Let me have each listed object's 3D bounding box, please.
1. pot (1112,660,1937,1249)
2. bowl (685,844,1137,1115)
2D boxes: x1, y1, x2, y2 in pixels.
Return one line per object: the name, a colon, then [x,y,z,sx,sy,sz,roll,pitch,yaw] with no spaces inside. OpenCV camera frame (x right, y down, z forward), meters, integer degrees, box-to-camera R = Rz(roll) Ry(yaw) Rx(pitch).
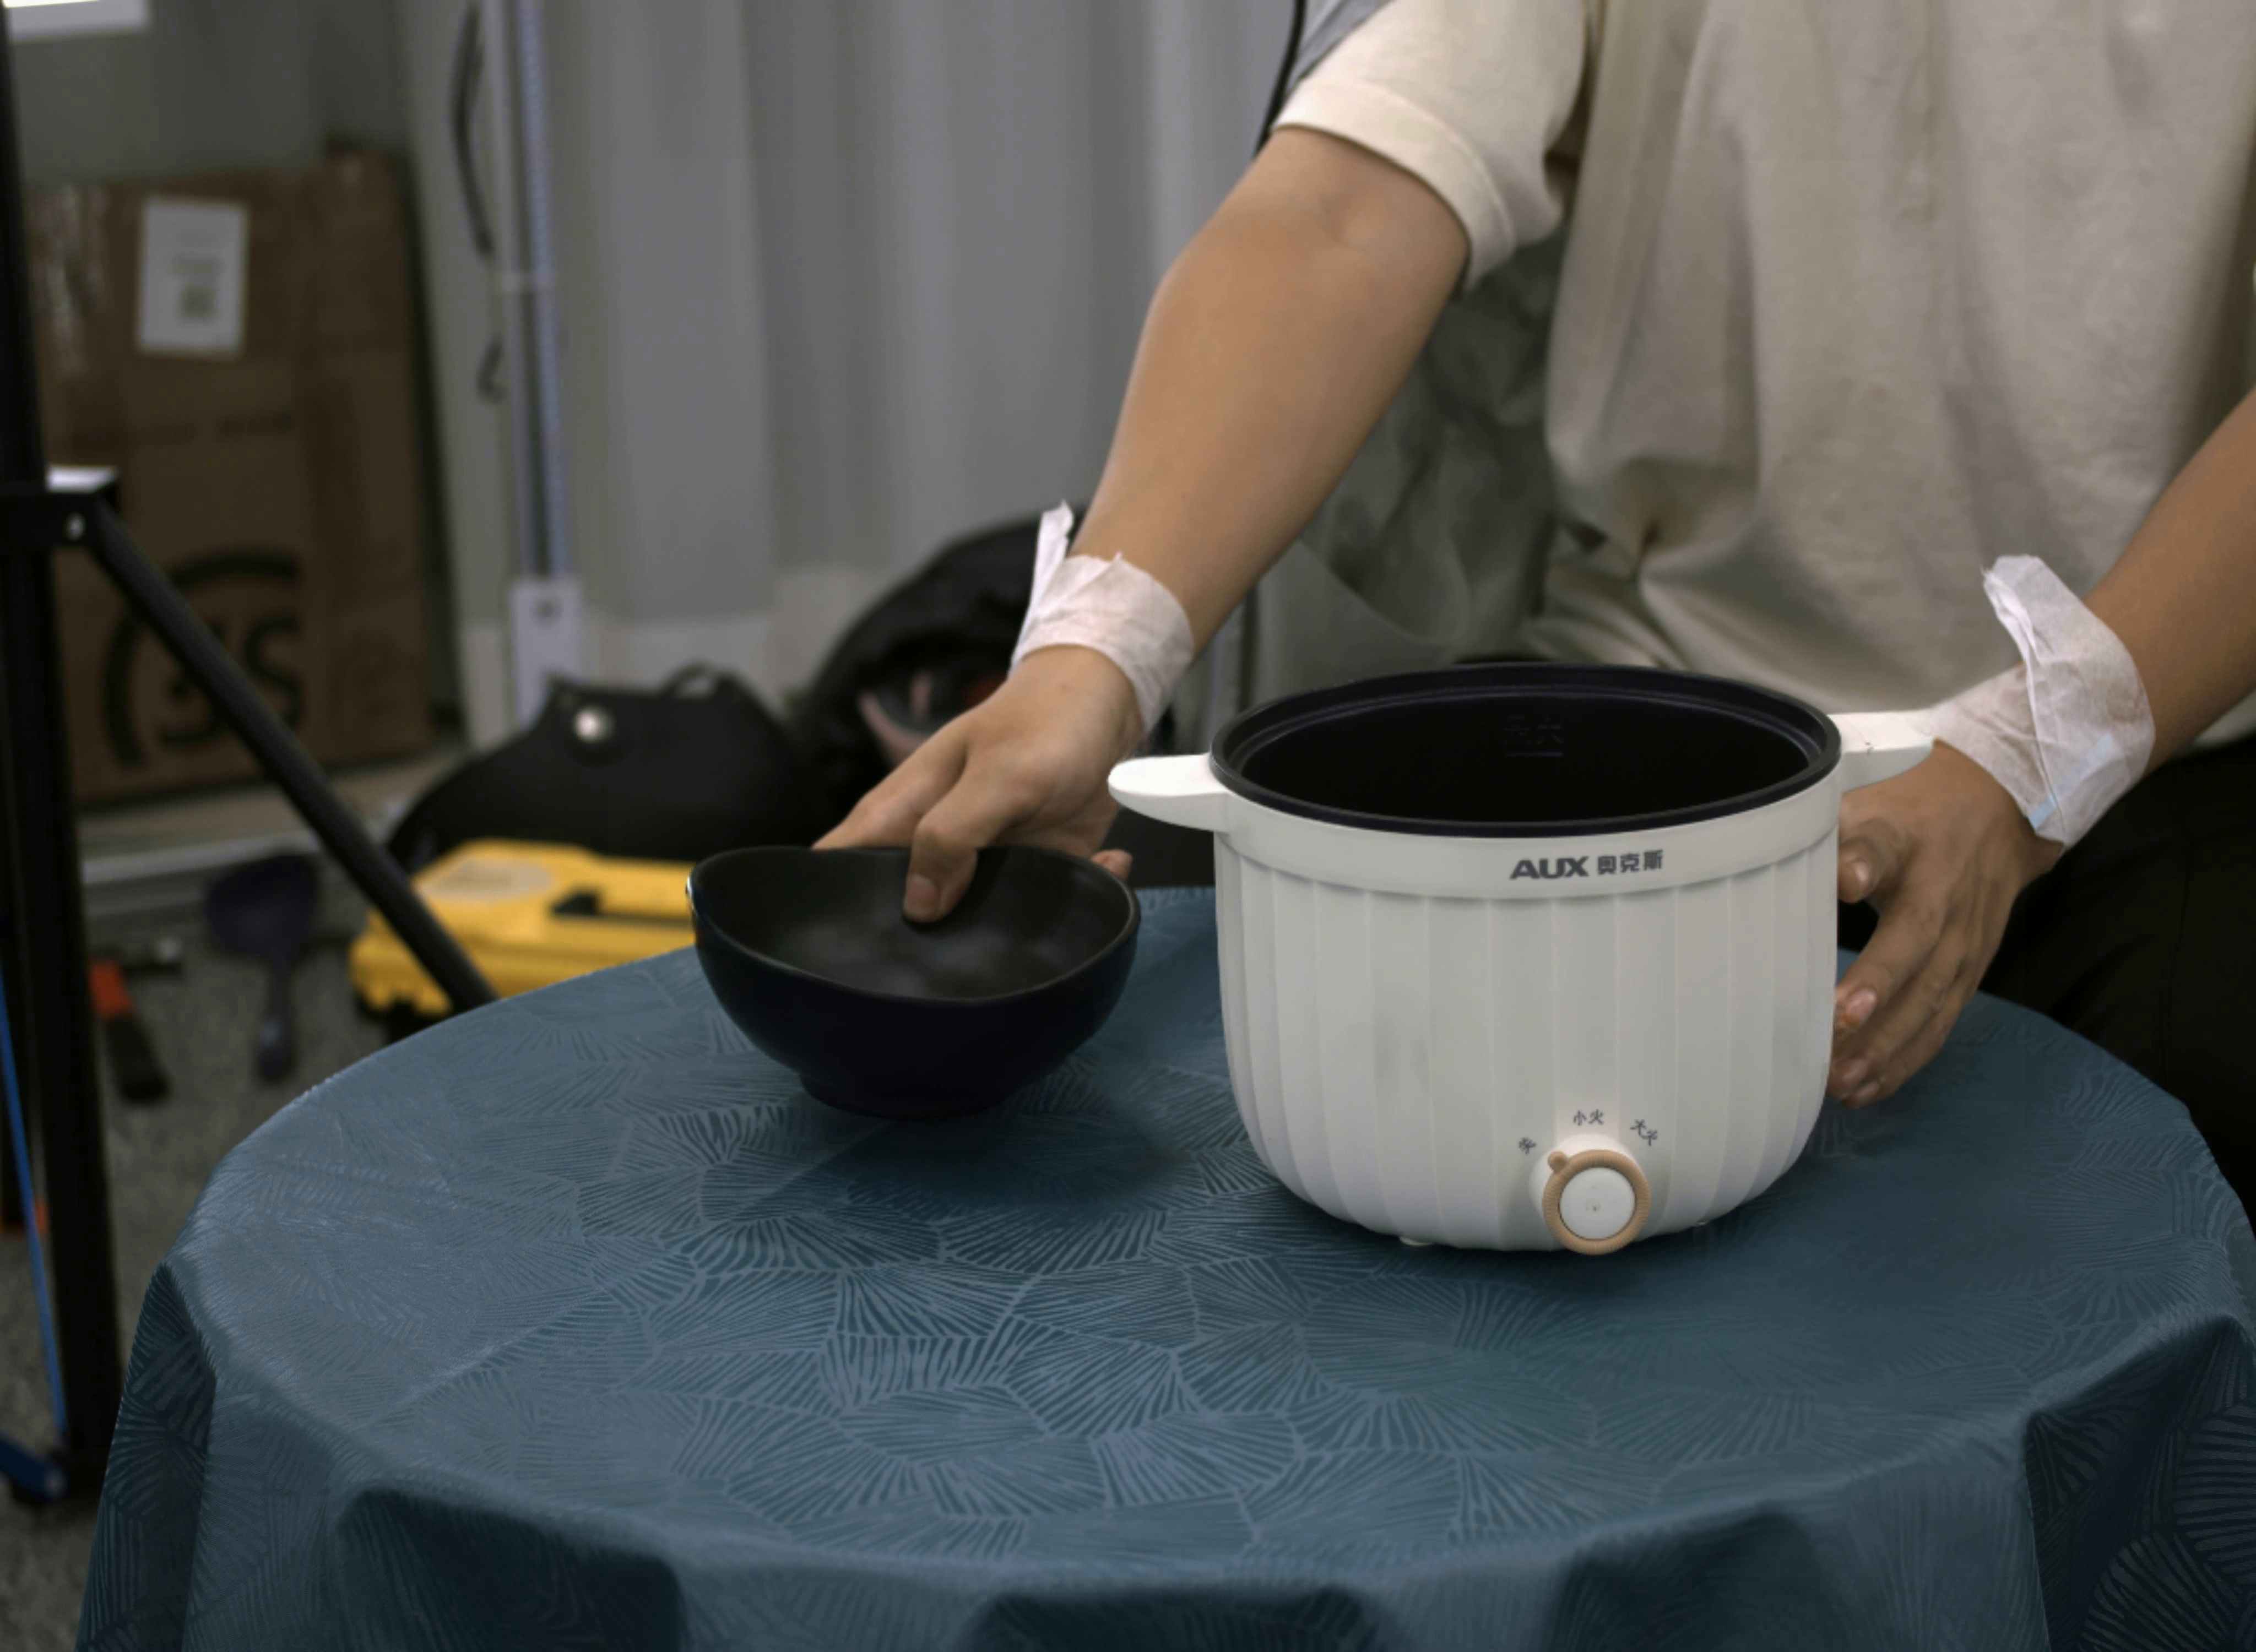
pot: [0.118,0.040,1.524,0.238,0.143,0.192,-5,12,-5]
bowl: [-0.067,0.048,1.624,0.135,0.067,0.172,-1,16,-10]
